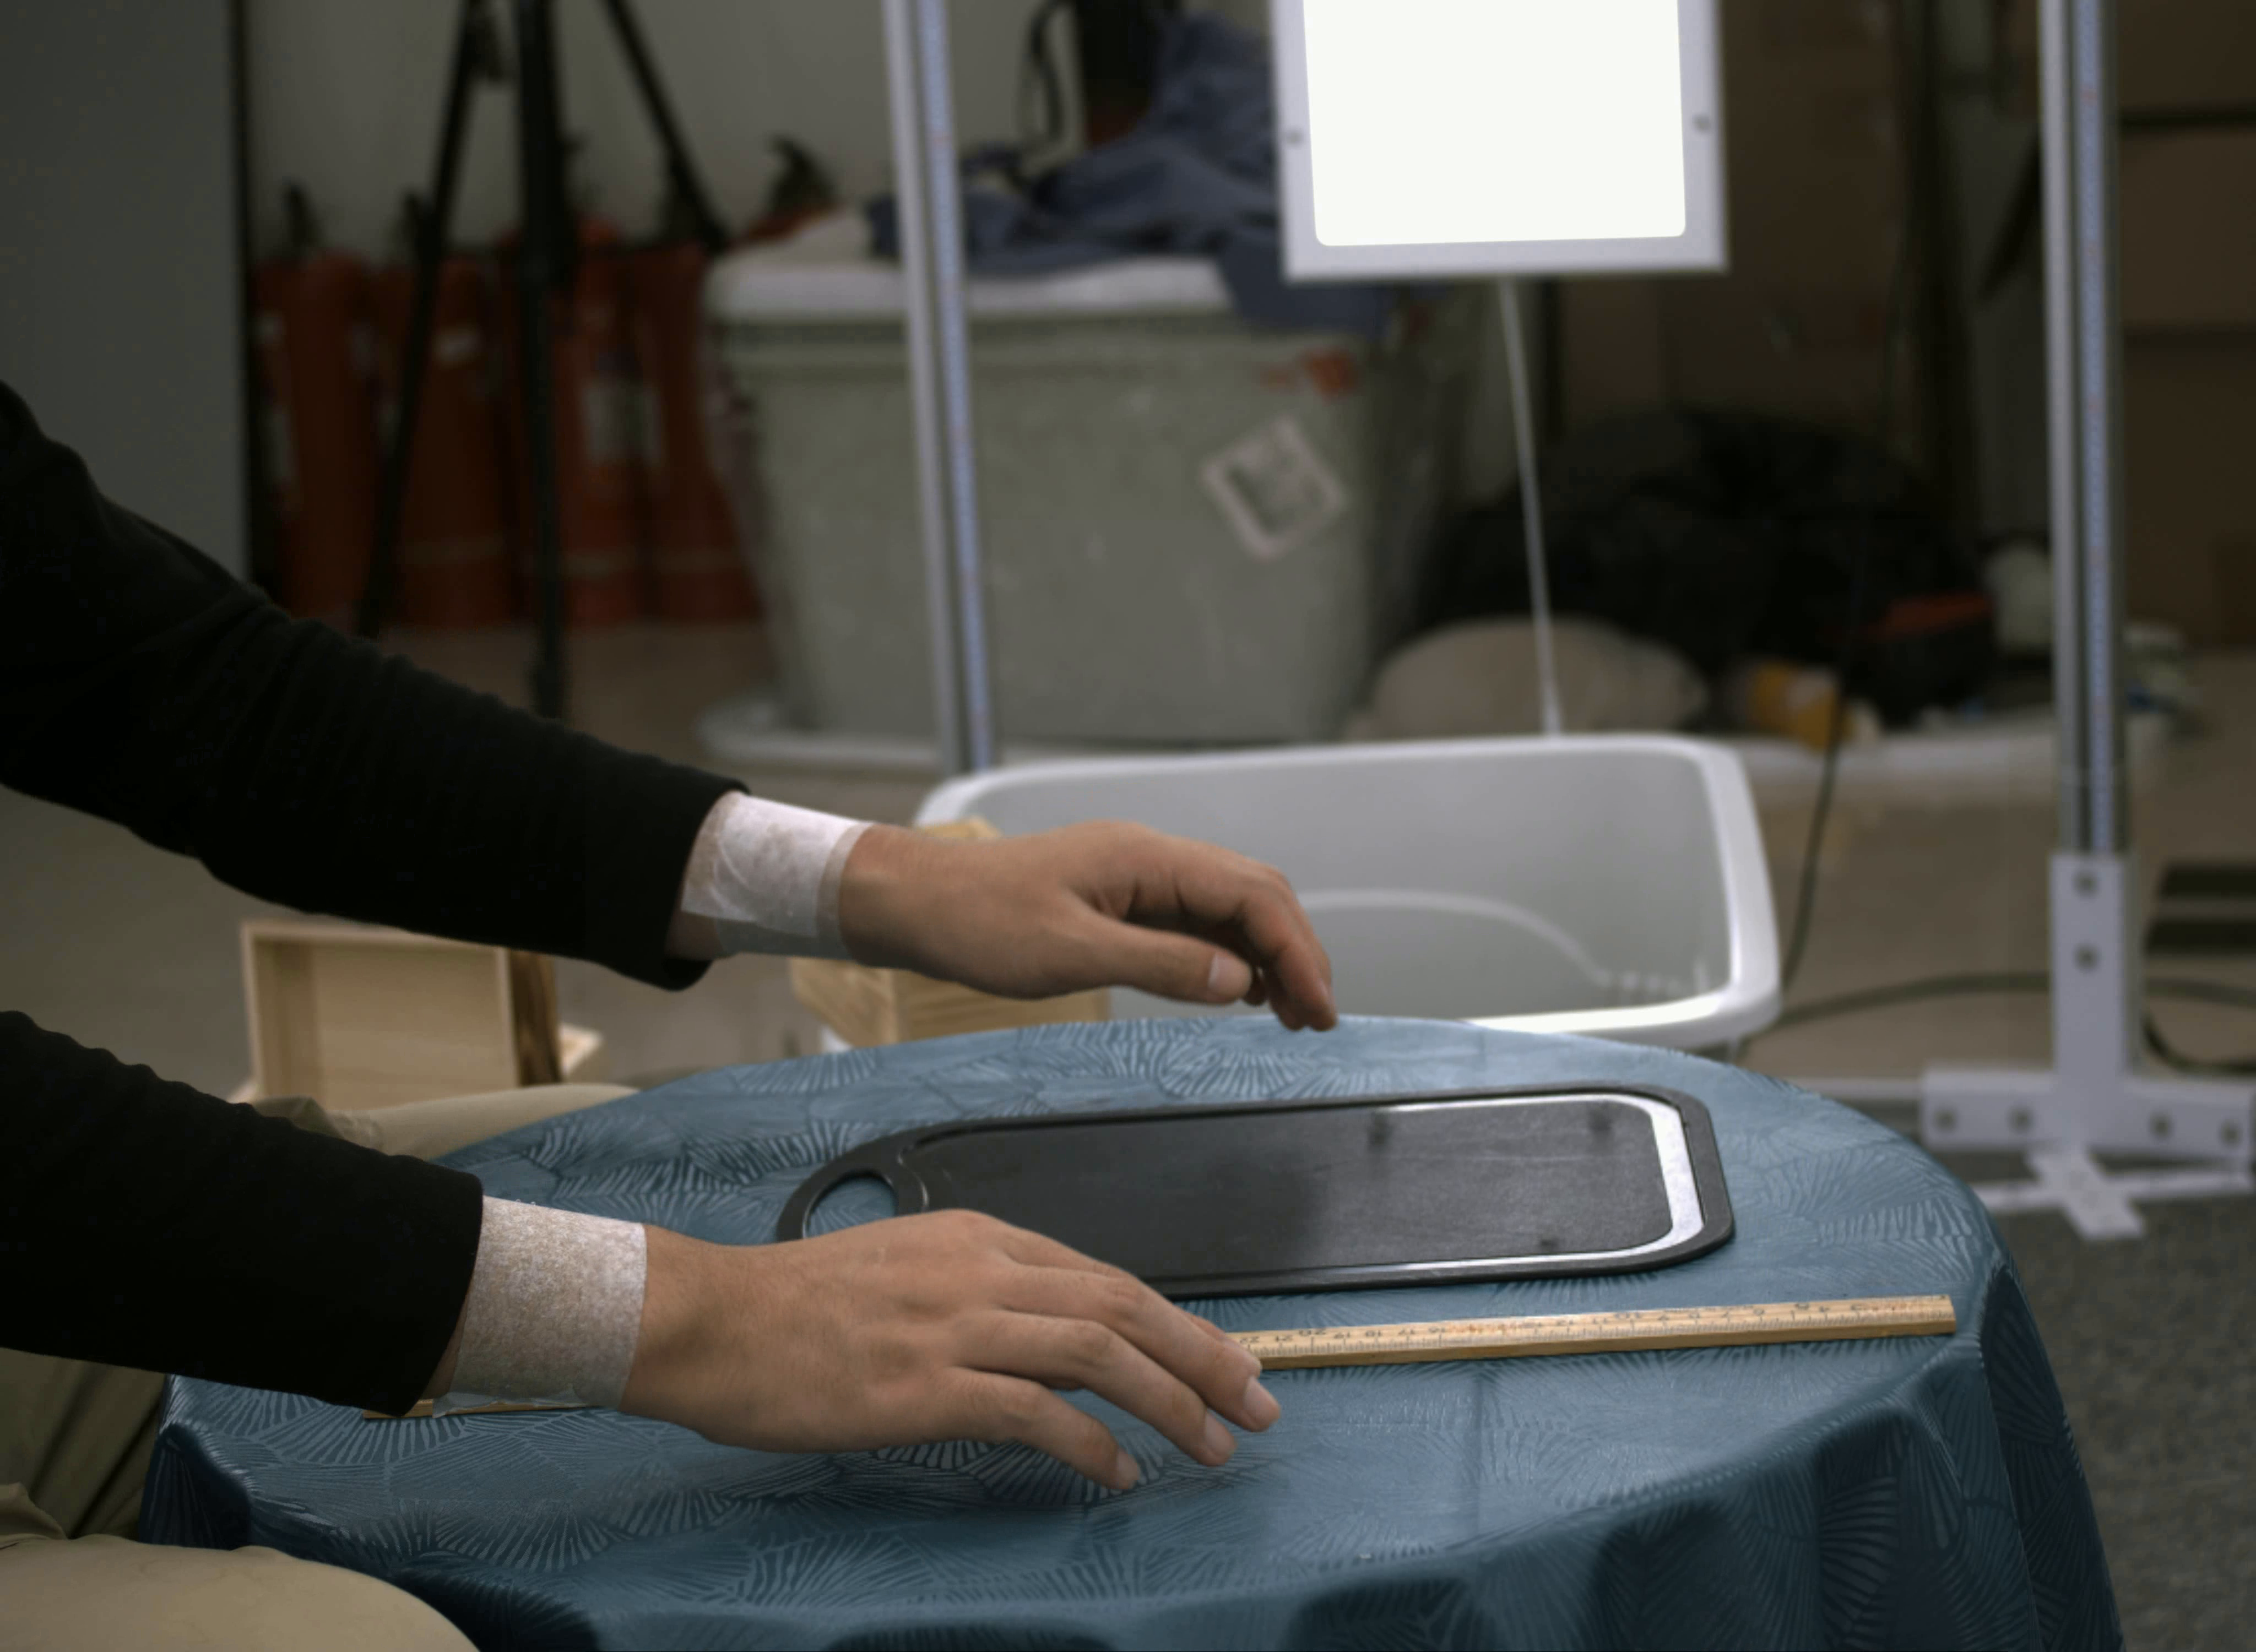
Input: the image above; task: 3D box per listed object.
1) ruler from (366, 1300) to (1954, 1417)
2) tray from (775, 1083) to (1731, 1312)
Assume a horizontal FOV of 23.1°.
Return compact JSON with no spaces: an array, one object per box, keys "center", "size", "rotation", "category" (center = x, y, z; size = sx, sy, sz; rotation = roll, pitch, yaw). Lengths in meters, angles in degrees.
[{"center":[0.009,0.166,1.723],"size":[0.502,0.006,0.026],"rotation":[-4,11,7],"category":"ruler"},{"center":[0.041,0.124,1.878],"size":[0.326,0.010,0.210],"rotation":[-4,14,6],"category":"tray"}]
